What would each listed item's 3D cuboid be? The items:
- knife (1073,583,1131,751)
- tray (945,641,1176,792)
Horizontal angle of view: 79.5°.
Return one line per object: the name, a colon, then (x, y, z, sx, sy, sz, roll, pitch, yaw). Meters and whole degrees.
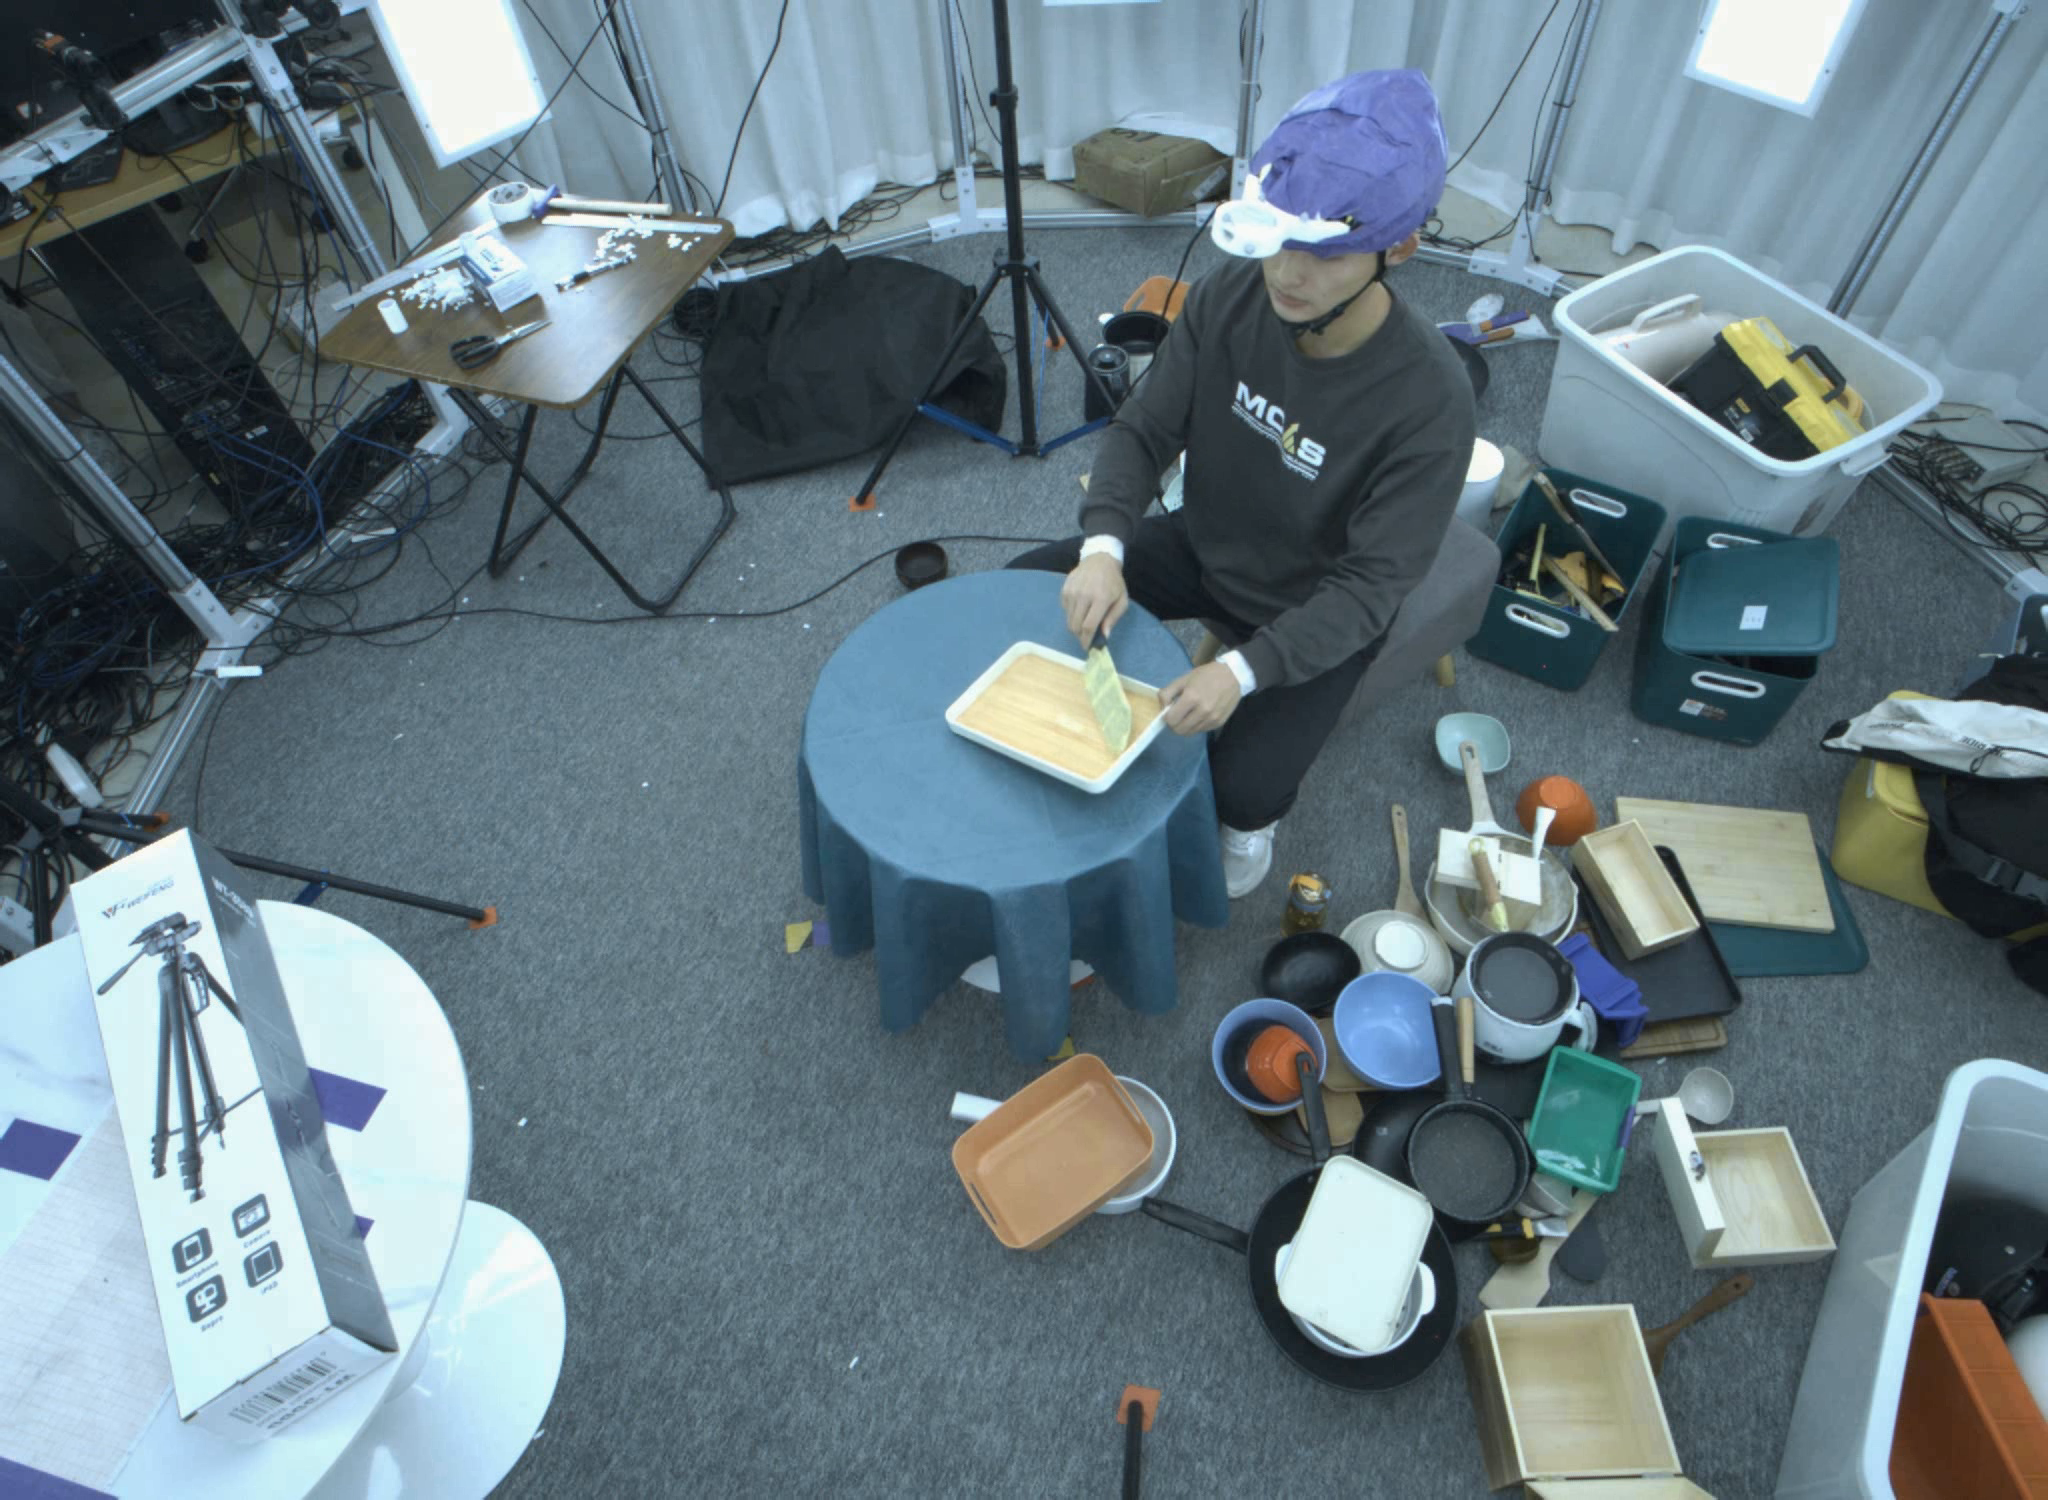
knife: (0.105, -0.119, 1.745, 0.028, 0.080, 0.285, 7, 54, -31)
tray: (0.050, -0.055, 1.774, 0.293, 0.028, 0.193, 24, 56, 34)
